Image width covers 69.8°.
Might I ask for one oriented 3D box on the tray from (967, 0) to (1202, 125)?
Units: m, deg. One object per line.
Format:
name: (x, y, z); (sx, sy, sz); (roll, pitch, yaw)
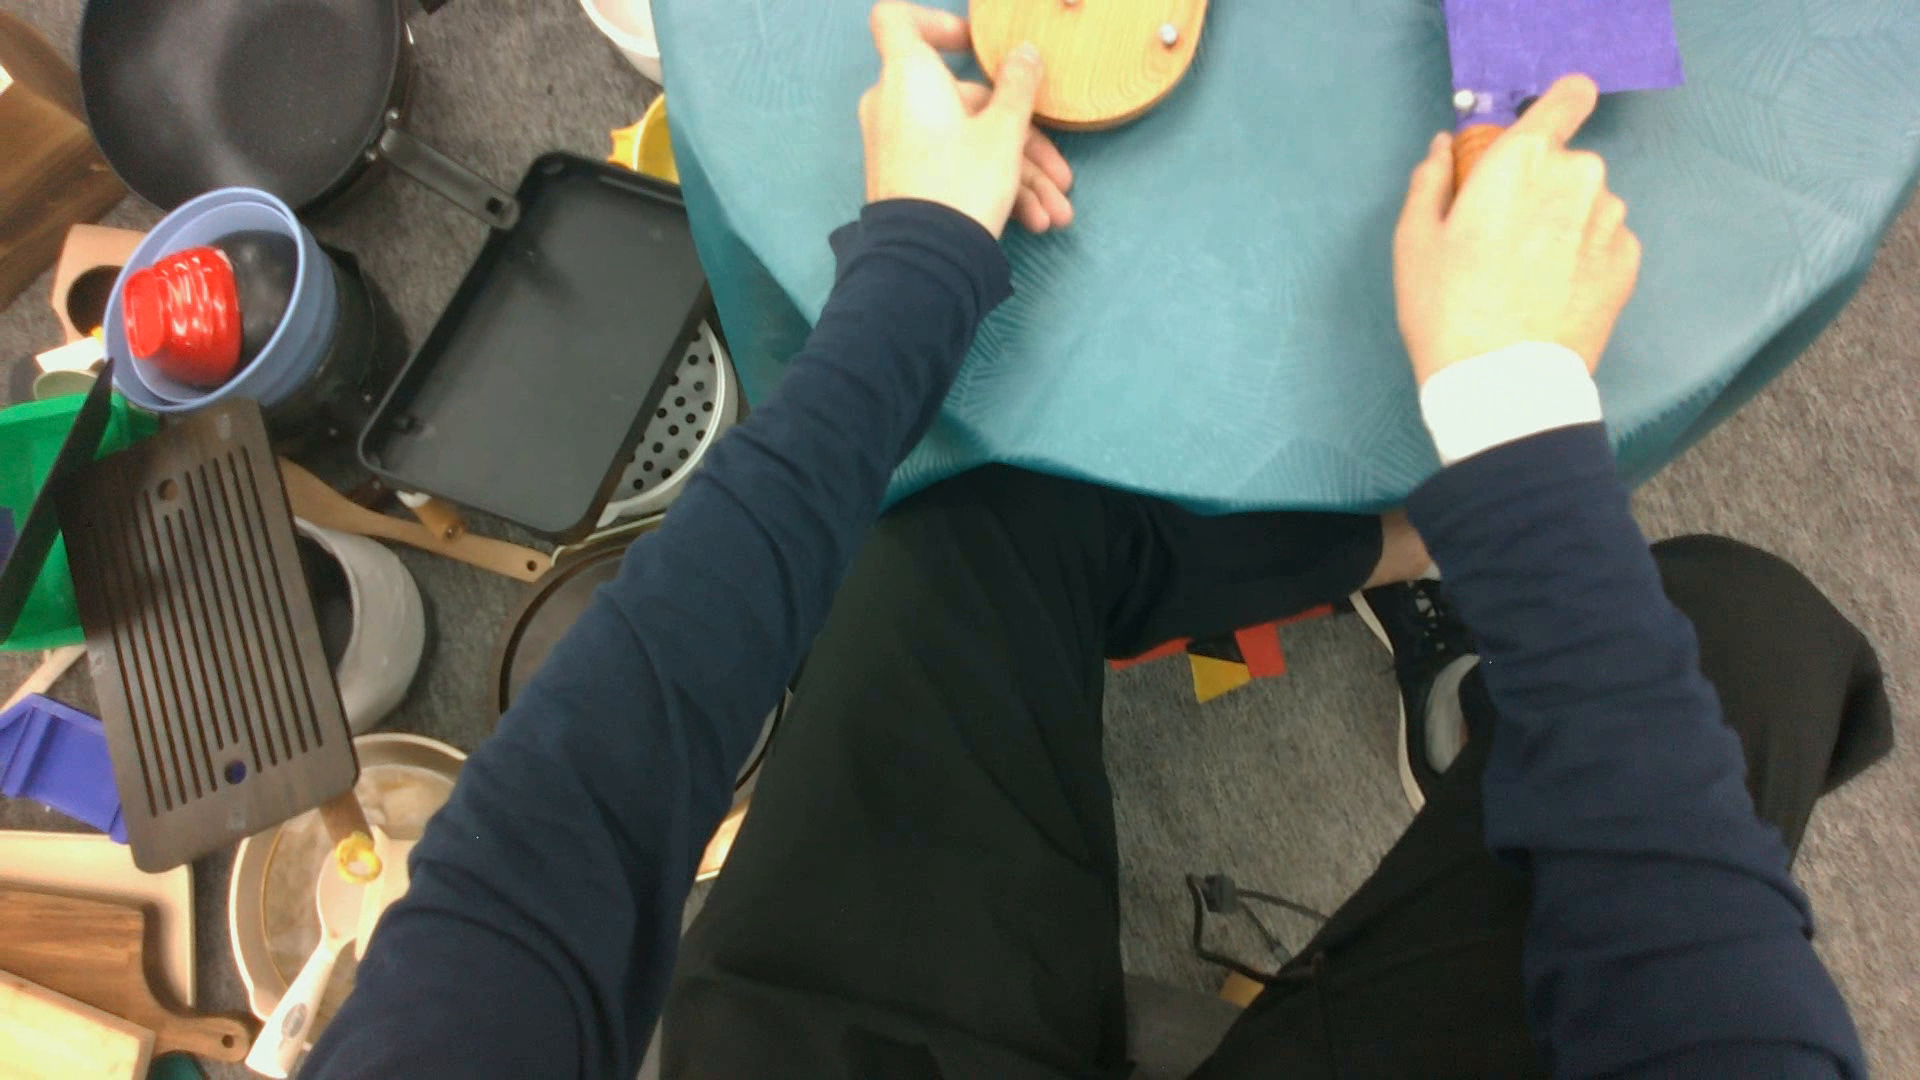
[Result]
tray: (0.066, -0.293, 0.622); (0.101, 0.020, 0.231); (10, 78, 5)

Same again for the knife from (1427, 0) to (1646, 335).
knife: (0.237, -0.239, 0.582); (0.104, 0.032, 0.316); (-3, 75, 6)
